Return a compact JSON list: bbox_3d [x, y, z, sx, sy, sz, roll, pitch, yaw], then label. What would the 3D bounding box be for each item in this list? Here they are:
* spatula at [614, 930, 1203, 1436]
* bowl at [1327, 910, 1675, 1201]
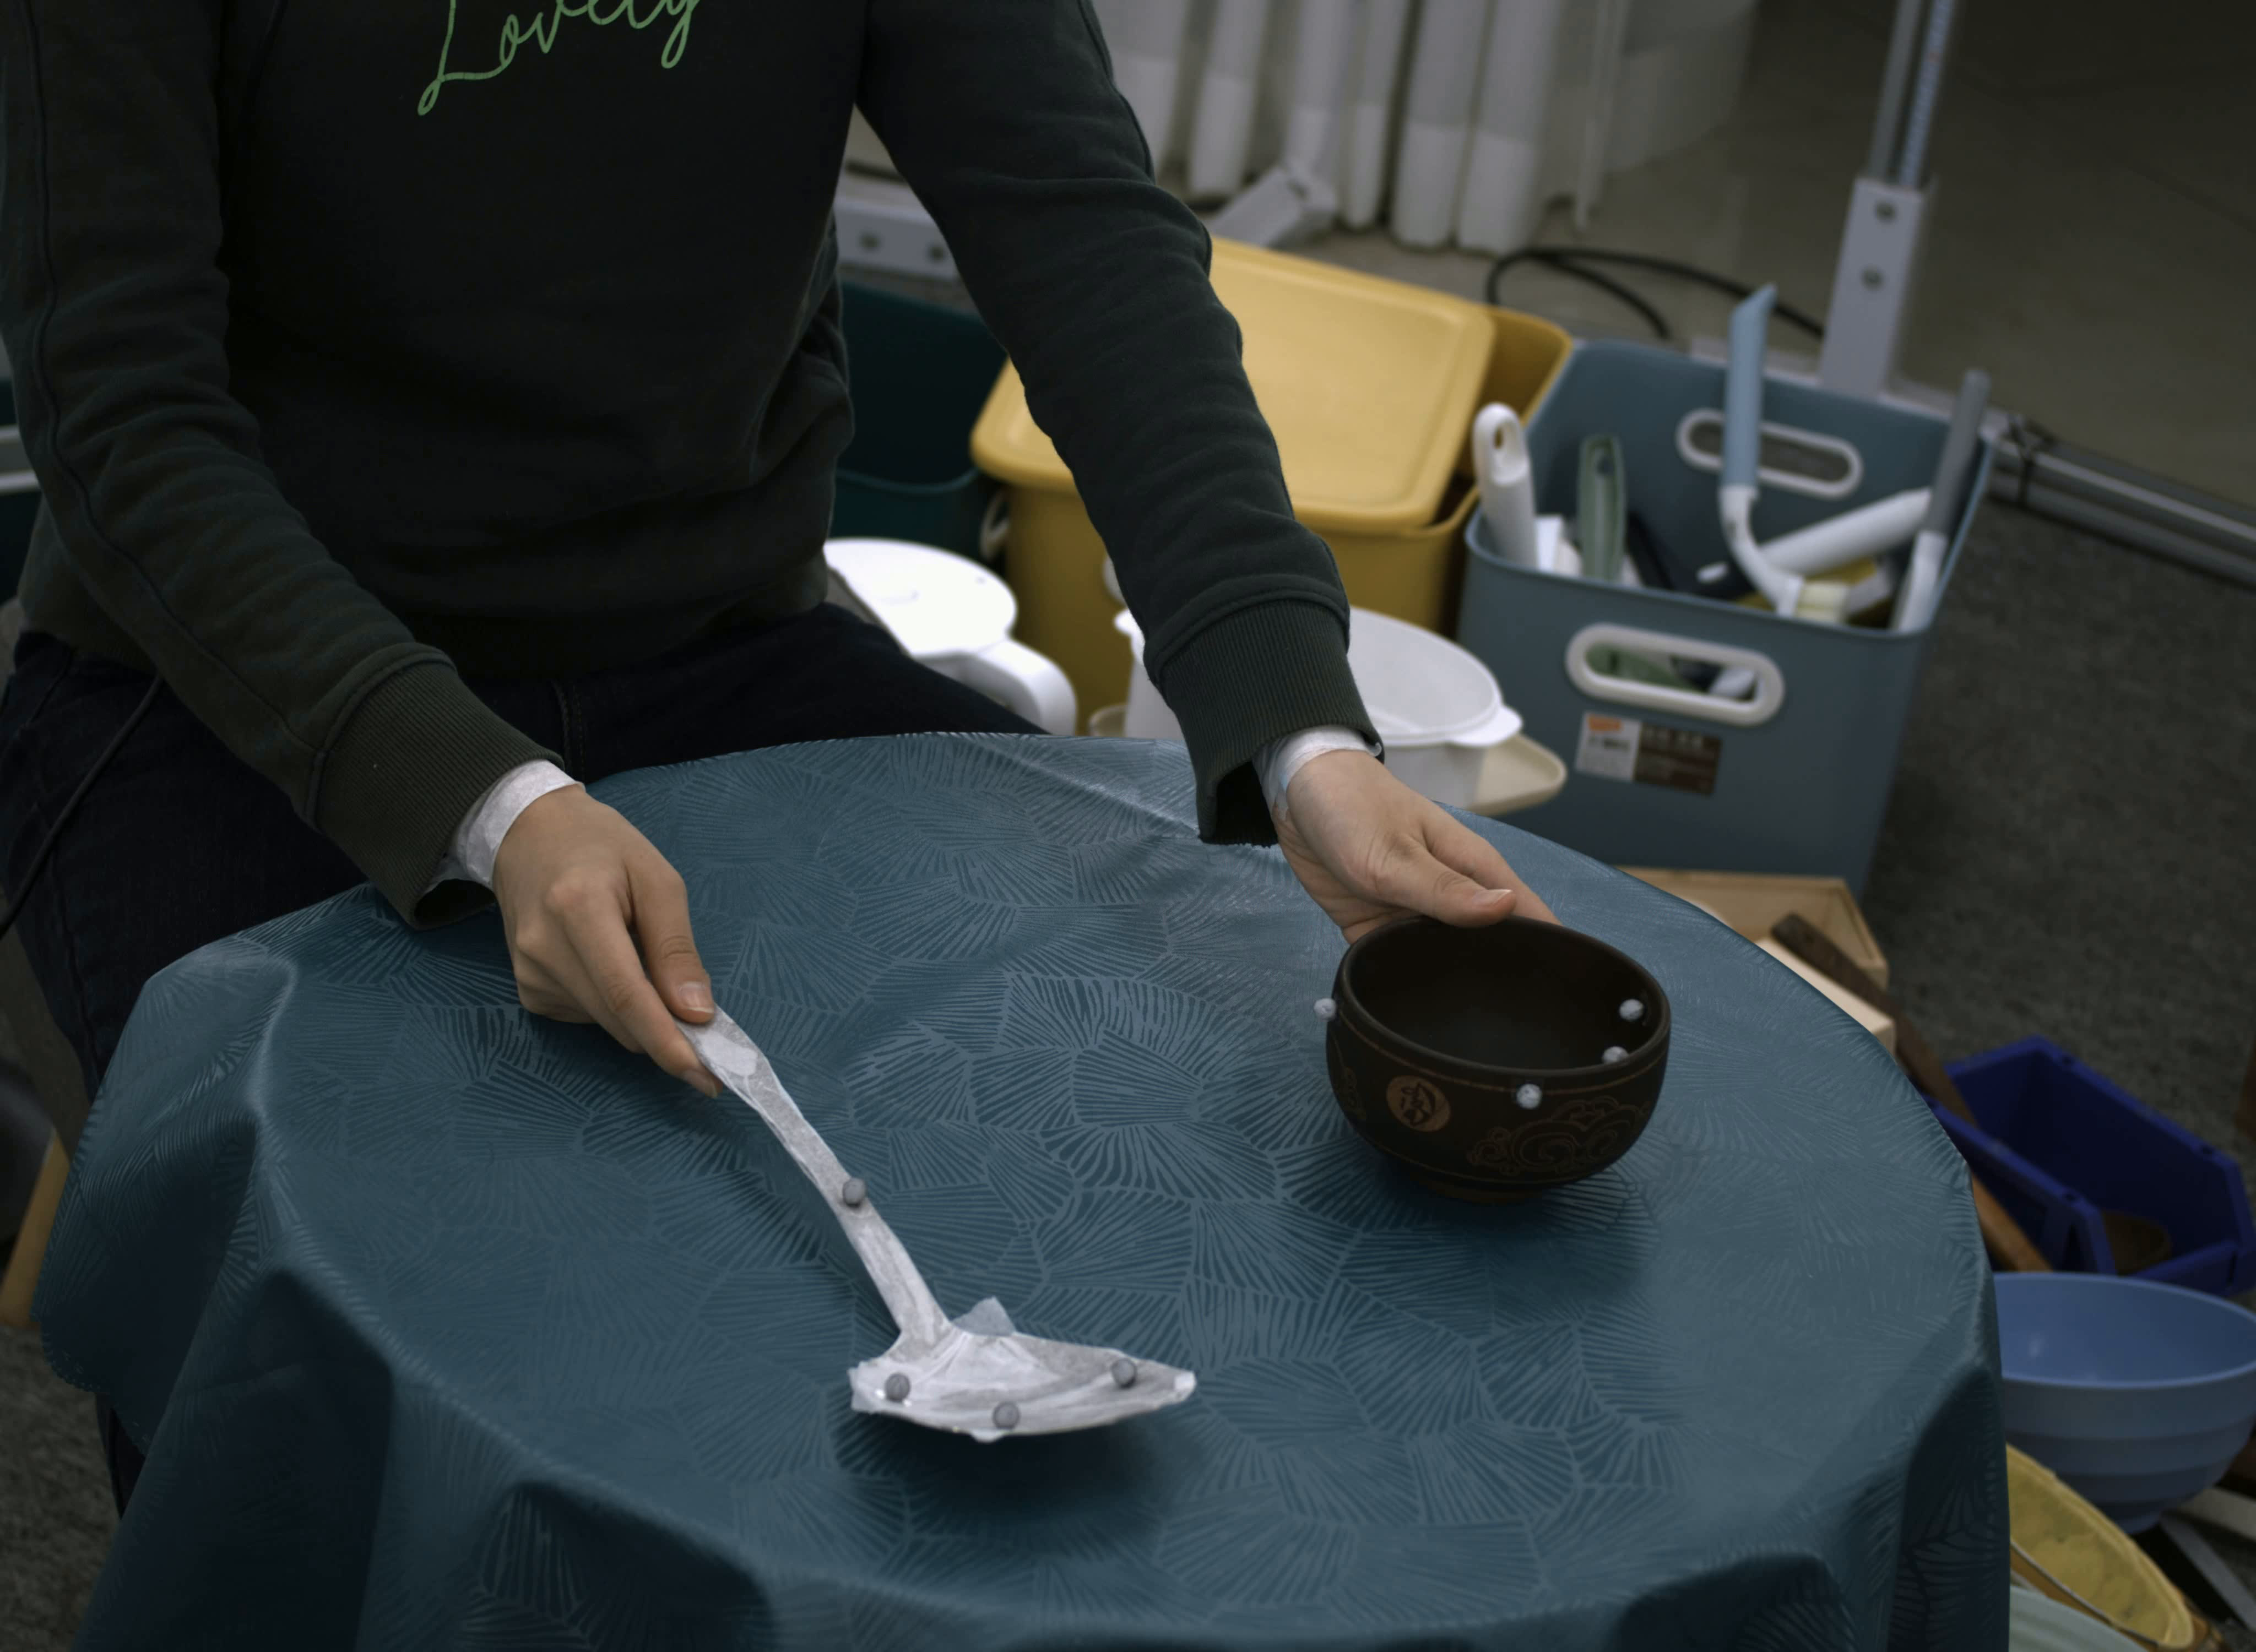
[{"bbox_3d":[-0.097,0.109,1.754,0.098,0.044,0.368,-8,33,-27],"label":"spatula"},{"bbox_3d":[0.125,0.085,1.825,0.117,0.069,0.119,6,25,-3],"label":"bowl"}]
